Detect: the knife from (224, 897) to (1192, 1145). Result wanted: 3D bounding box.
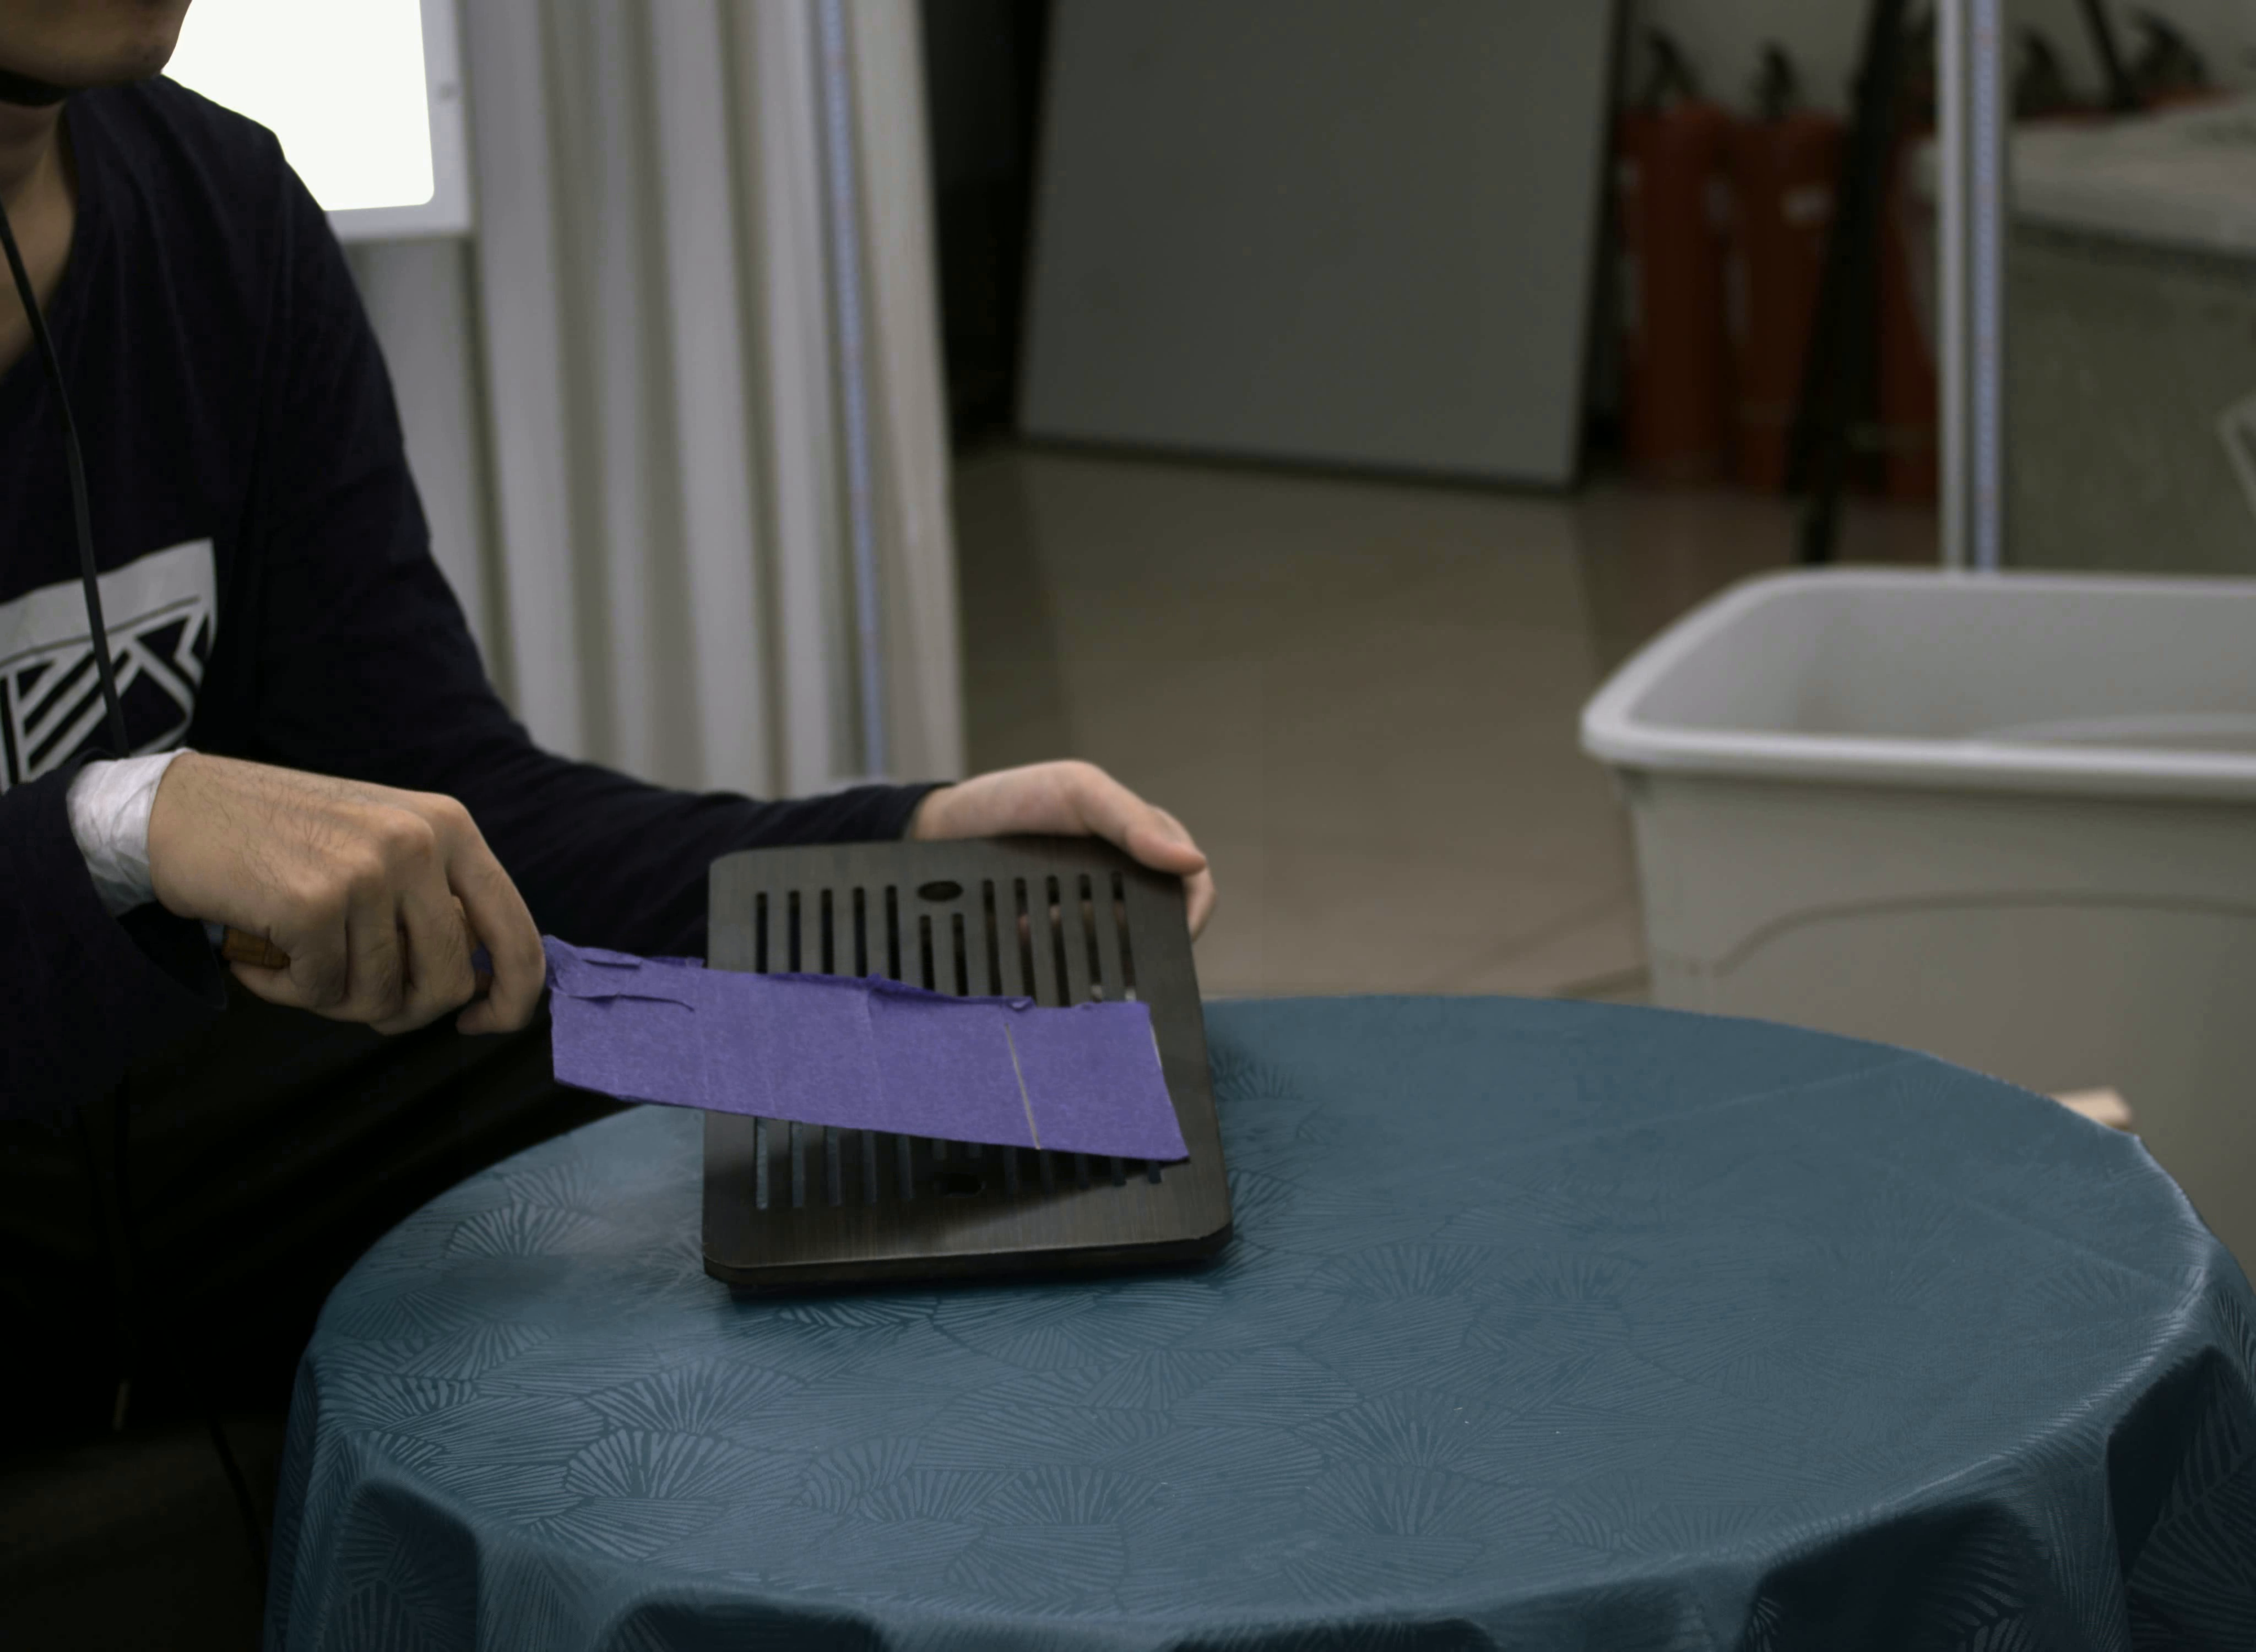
[{"bbox_3d":[-0.133,0.064,1.739,0.310,0.032,0.104,5,27,-9],"label":"knife"}]

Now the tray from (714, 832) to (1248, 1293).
[{"bbox_3d":[-0.053,0.077,1.821,0.168,0.019,0.307,-4,25,-1],"label":"tray"}]
